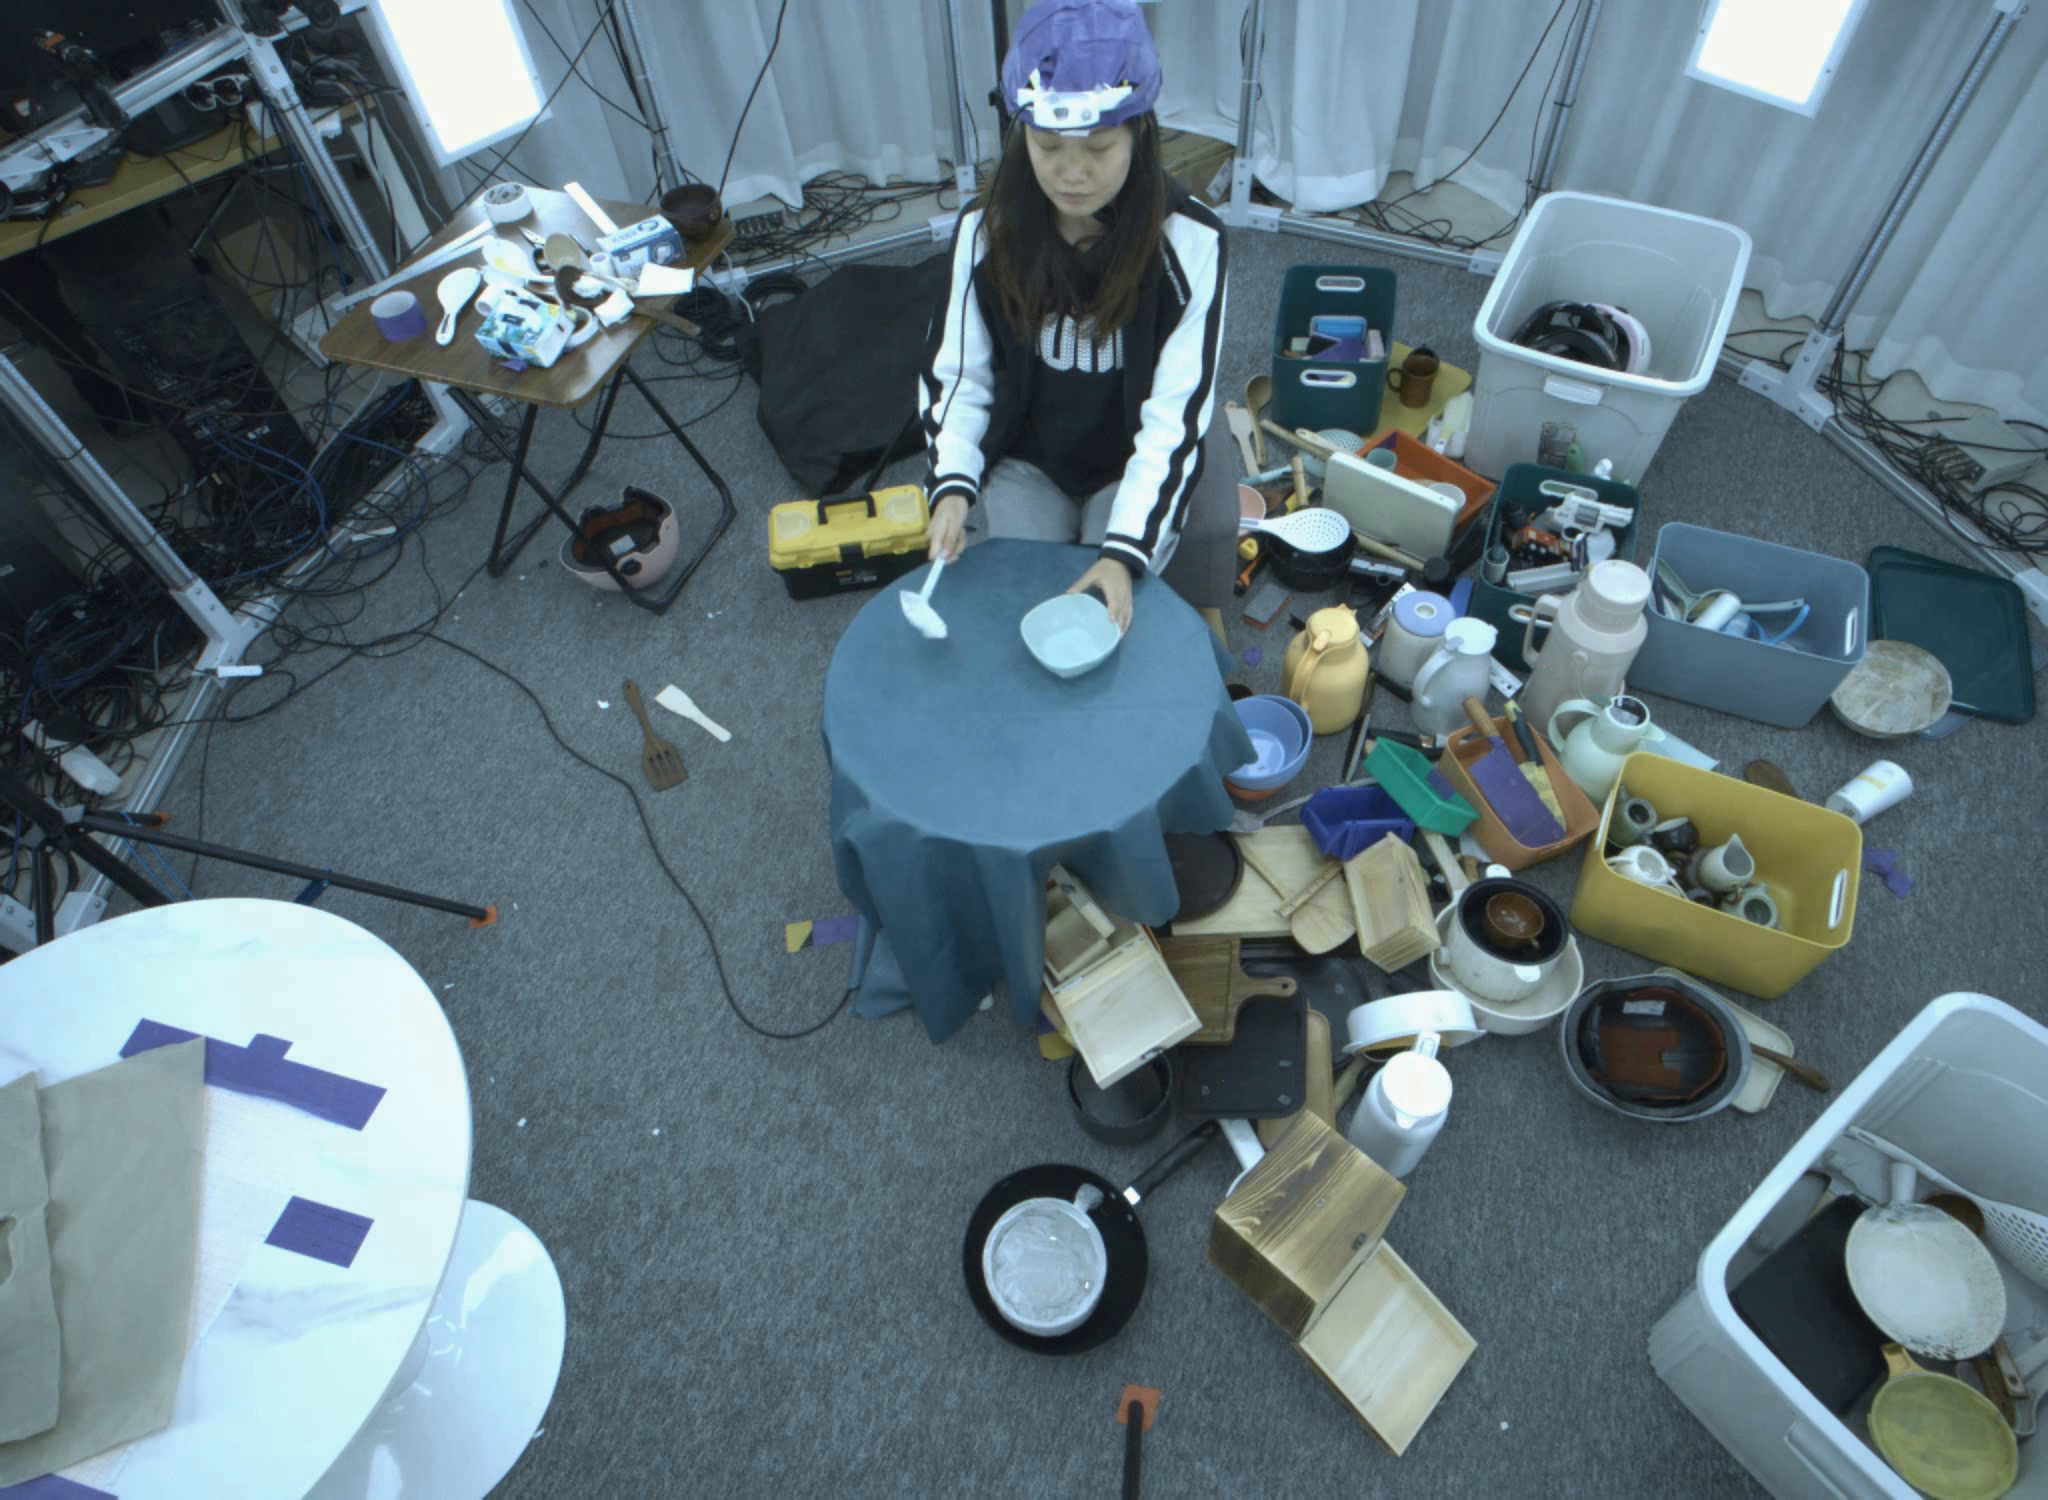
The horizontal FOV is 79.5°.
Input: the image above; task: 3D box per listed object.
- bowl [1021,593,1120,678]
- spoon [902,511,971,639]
[{"bbox_3d":[0.070,-0.165,1.870,0.151,0.059,0.150,0,55,2],"label":"bowl"},{"bbox_3d":[-0.116,-0.278,1.884,0.058,0.103,0.277,-11,44,42],"label":"spoon"}]
